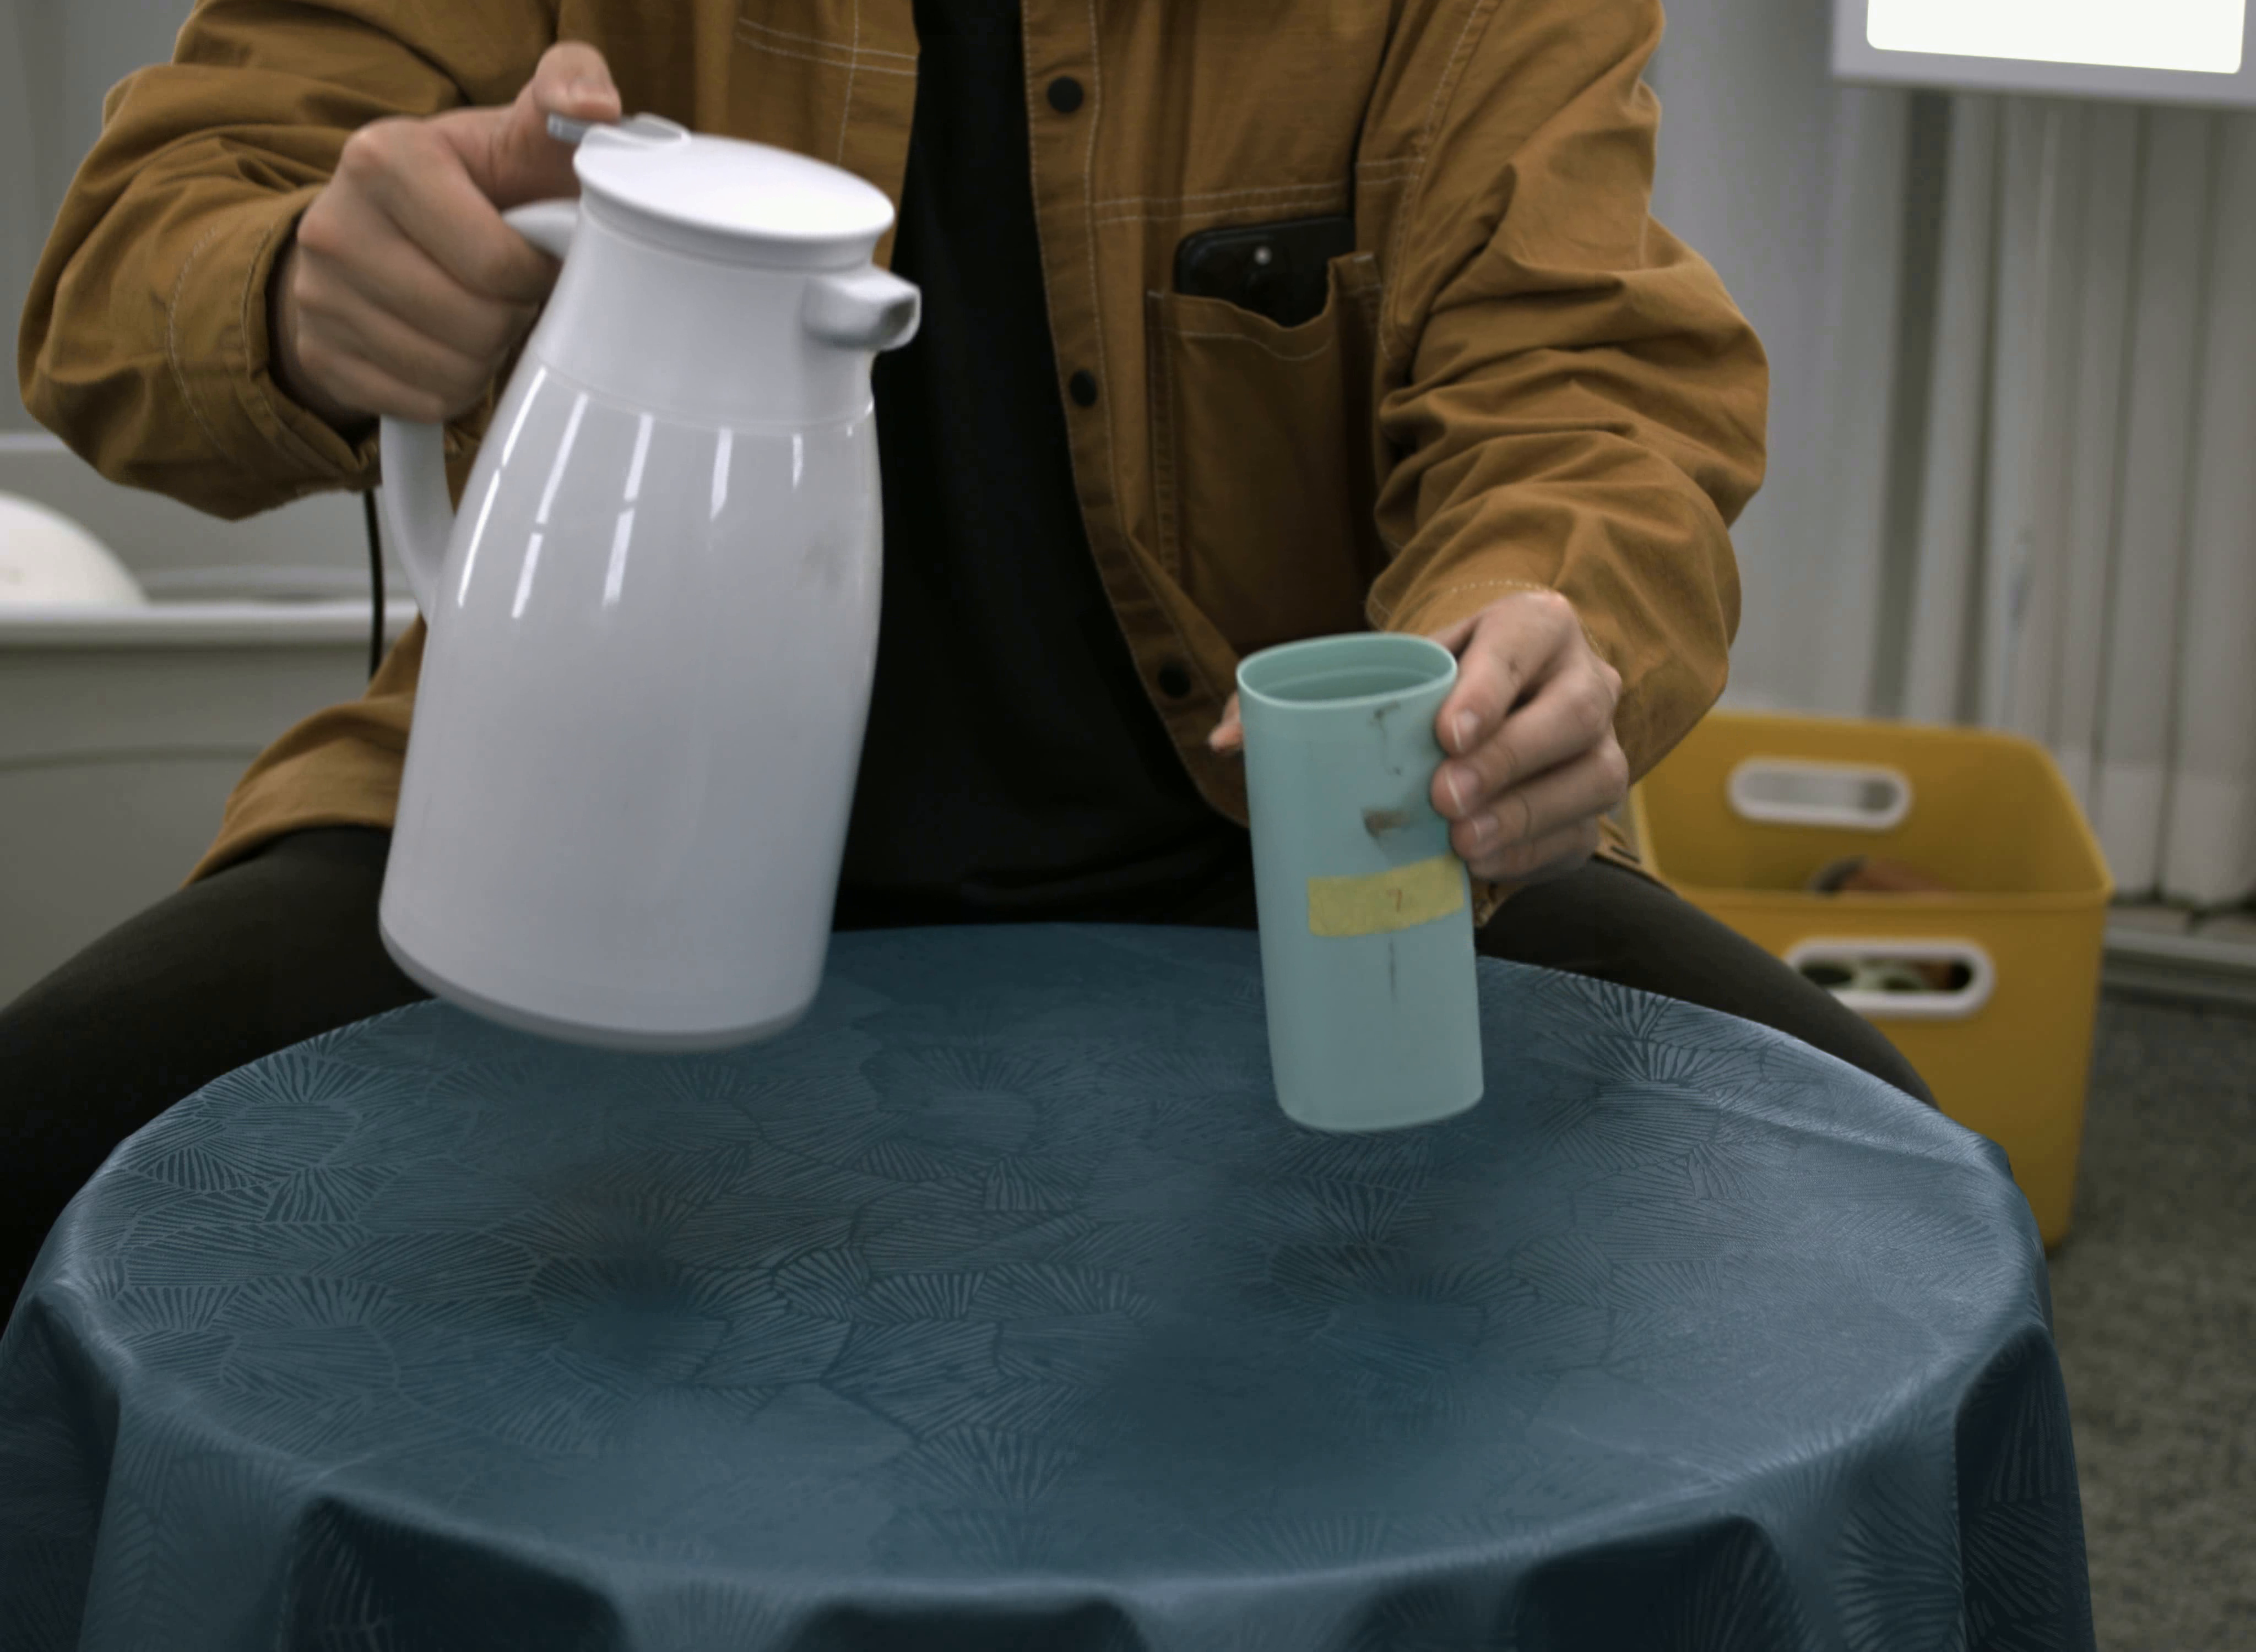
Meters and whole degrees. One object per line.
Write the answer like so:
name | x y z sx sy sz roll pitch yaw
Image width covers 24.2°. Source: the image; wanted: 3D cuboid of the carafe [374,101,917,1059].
carafe | -0.149 -0.079 1.510 0.166 0.250 0.133 21 23 25

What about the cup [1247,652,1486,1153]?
cup | 0.069 0.021 1.517 0.066 0.133 0.066 -4 20 2
